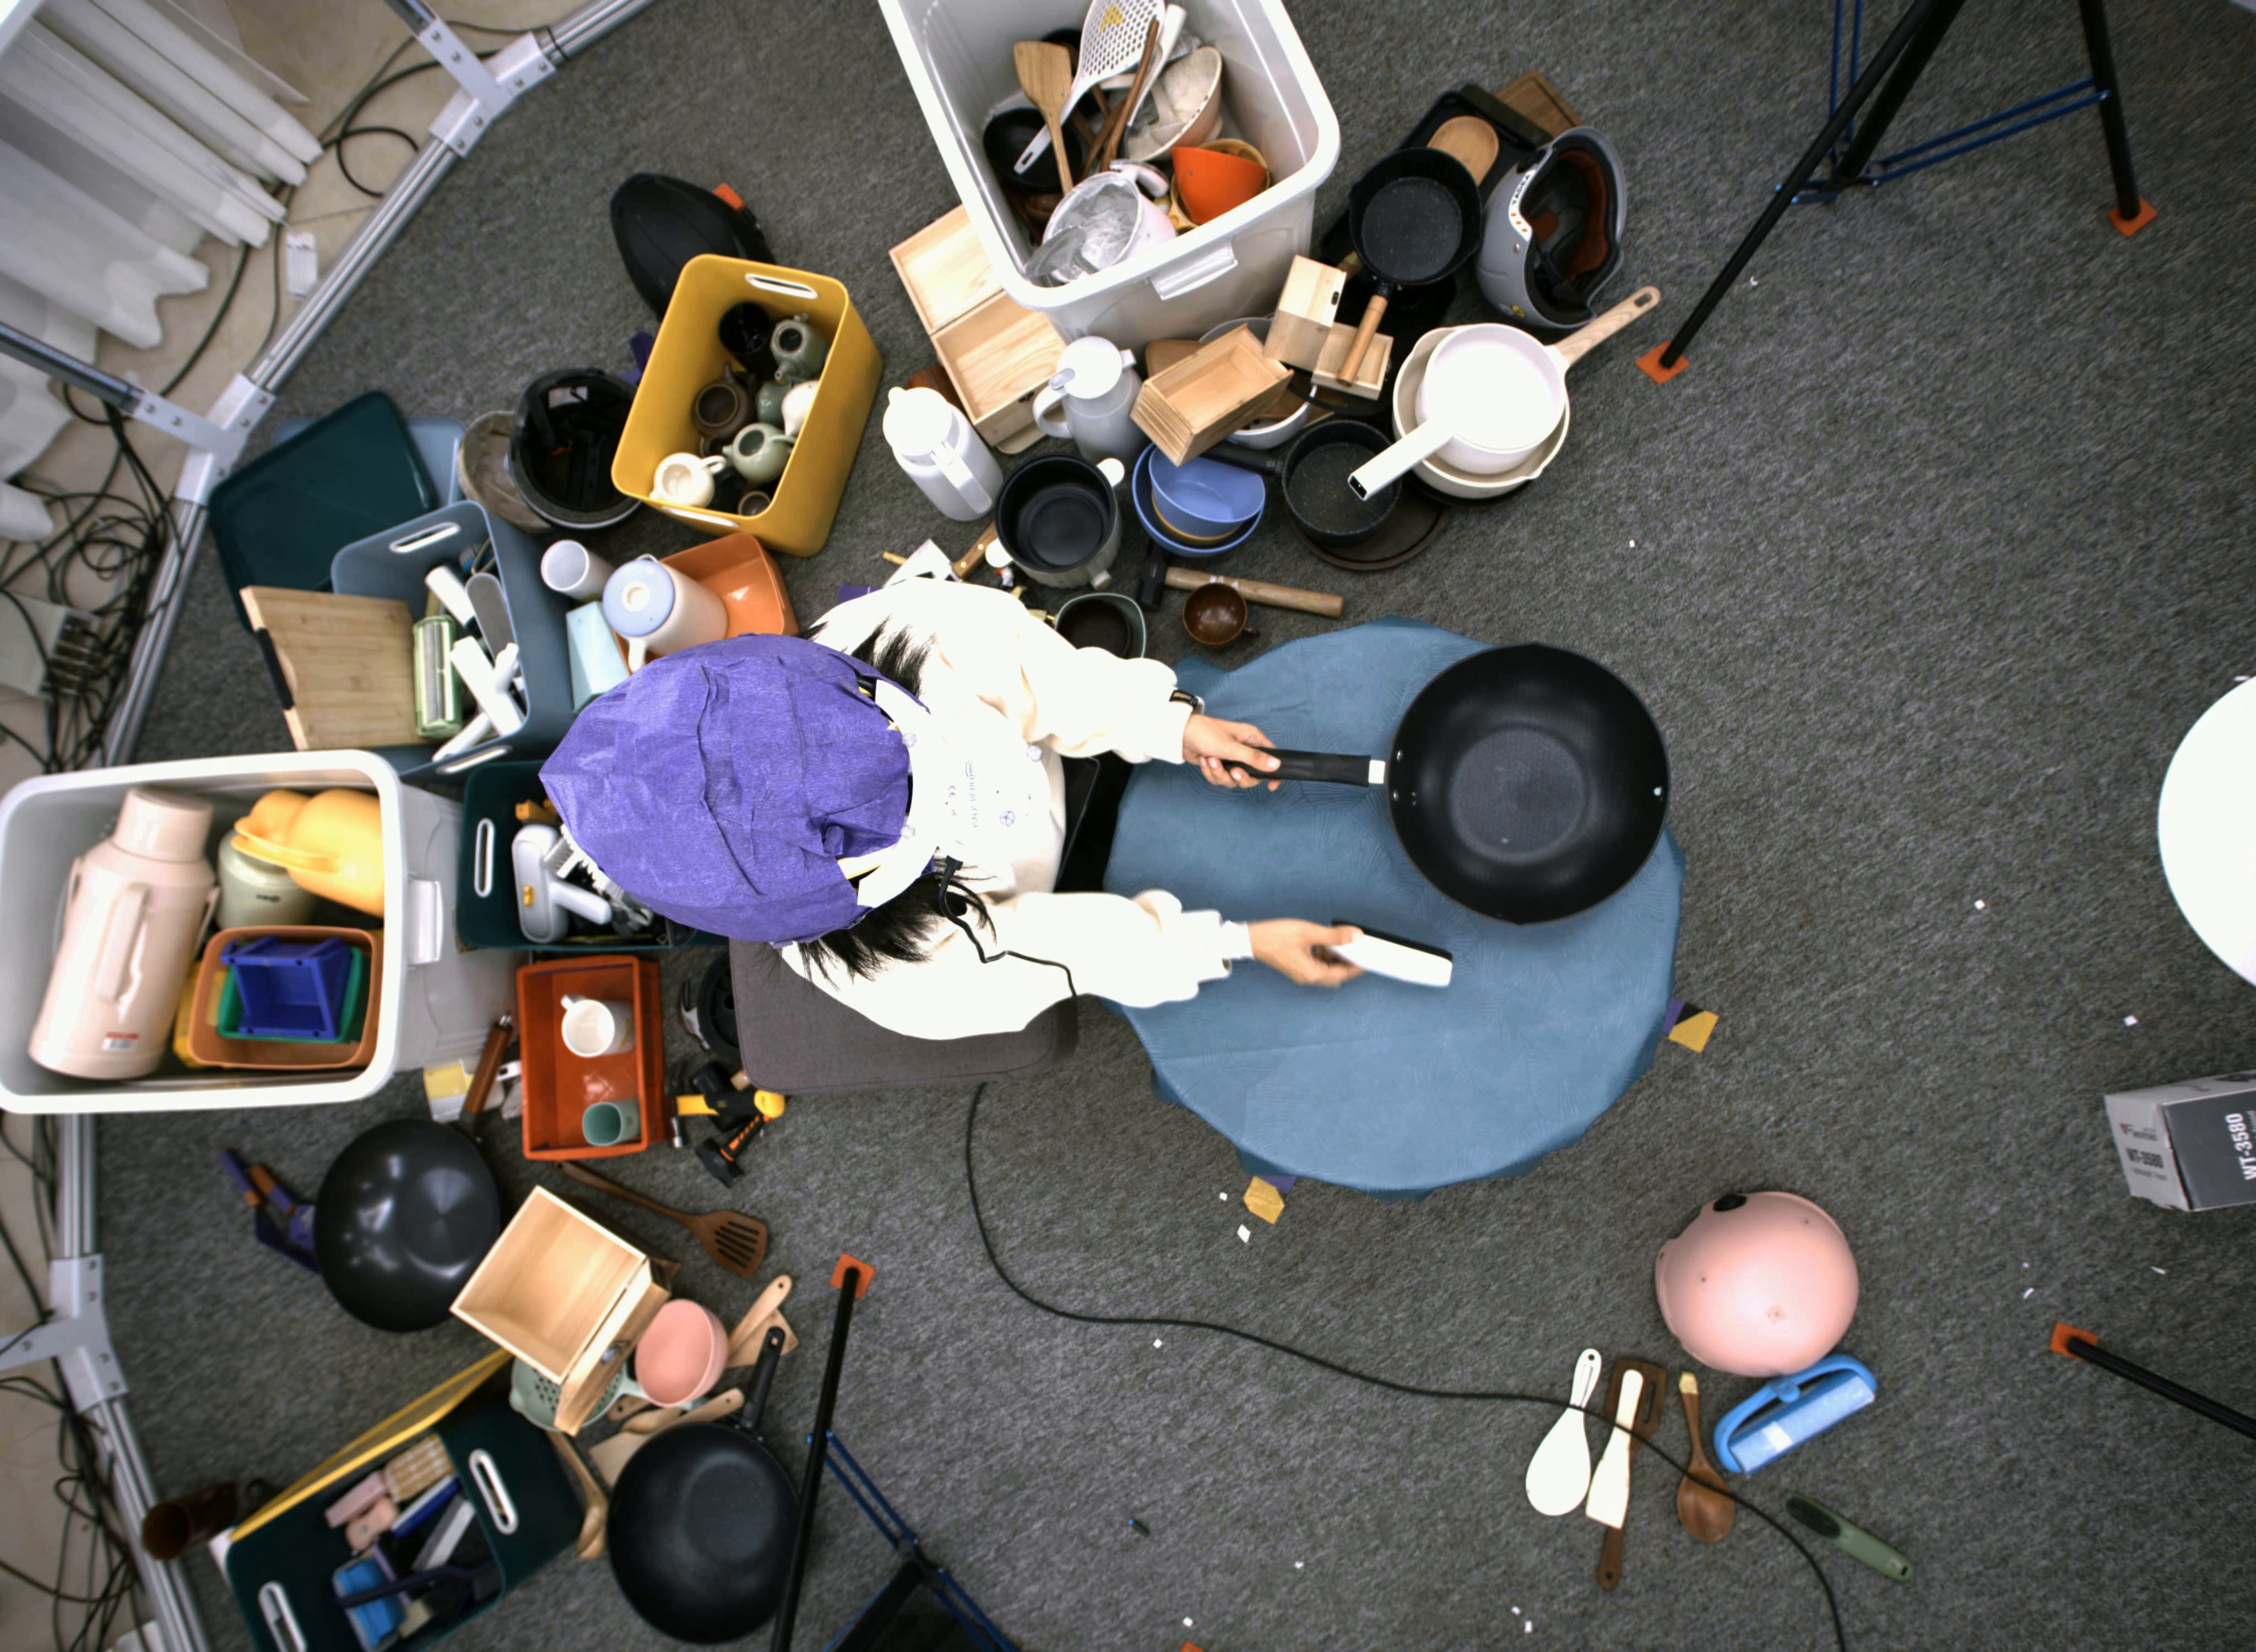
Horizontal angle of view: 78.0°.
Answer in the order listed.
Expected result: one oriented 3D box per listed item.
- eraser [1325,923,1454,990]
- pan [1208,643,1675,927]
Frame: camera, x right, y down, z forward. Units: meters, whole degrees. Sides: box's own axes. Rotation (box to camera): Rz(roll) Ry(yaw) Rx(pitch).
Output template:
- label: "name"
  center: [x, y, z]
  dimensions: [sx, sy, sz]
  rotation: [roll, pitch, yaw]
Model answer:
- label: "eraser"
  center: [0.265, 0.133, 1.404]
  dimensions: [0.131, 0.064, 0.034]
  rotation: [13, 68, 14]
- label: "pan"
  center: [0.315, -0.048, 1.417]
  dimensions: [0.465, 0.087, 0.287]
  rotation: [5, 87, 12]
